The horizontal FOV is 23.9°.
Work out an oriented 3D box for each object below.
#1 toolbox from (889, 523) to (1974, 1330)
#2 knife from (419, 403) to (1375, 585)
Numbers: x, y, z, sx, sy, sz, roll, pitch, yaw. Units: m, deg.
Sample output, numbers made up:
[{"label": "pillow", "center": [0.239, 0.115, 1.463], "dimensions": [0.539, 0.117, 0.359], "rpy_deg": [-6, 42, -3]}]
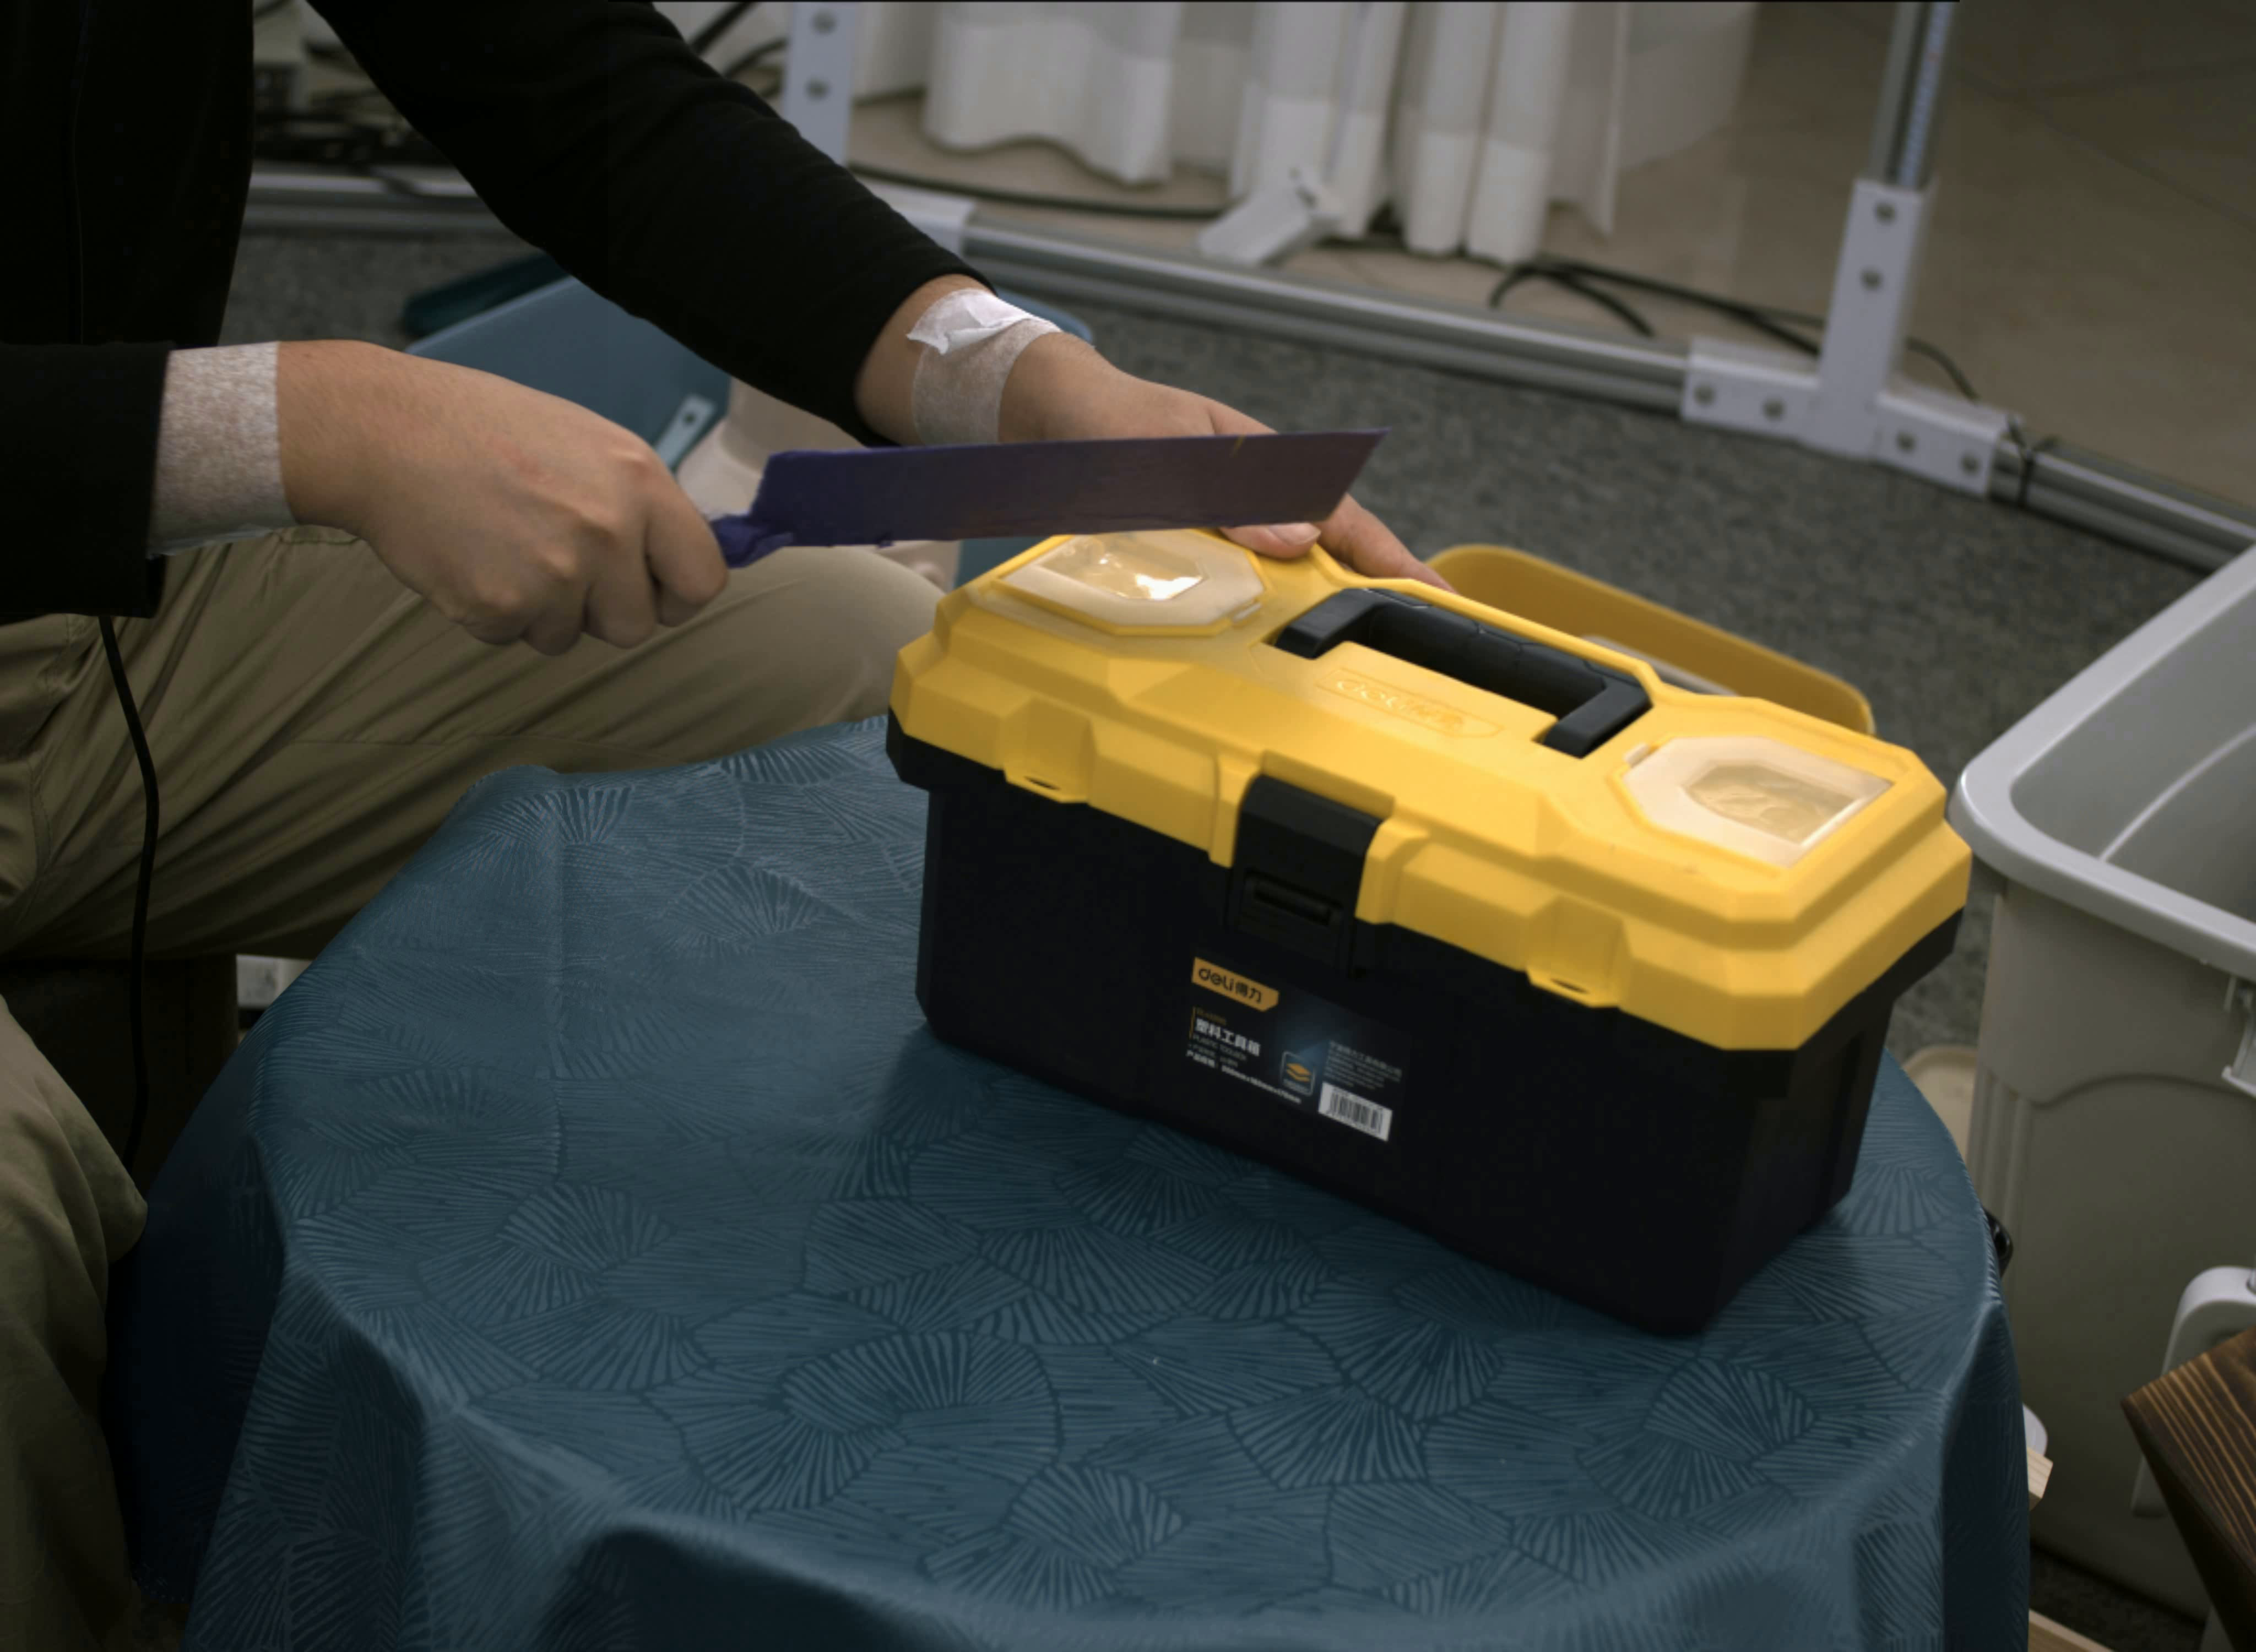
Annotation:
[{"label": "toolbox", "center": [0.095, 0.026, 1.825], "dimensions": [0.353, 0.172, 0.181], "rpy_deg": [21, 29, 27]}, {"label": "knife", "center": [-0.077, -0.115, 1.774], "dimensions": [0.313, 0.032, 0.103], "rpy_deg": [-5, -17, -13]}]
